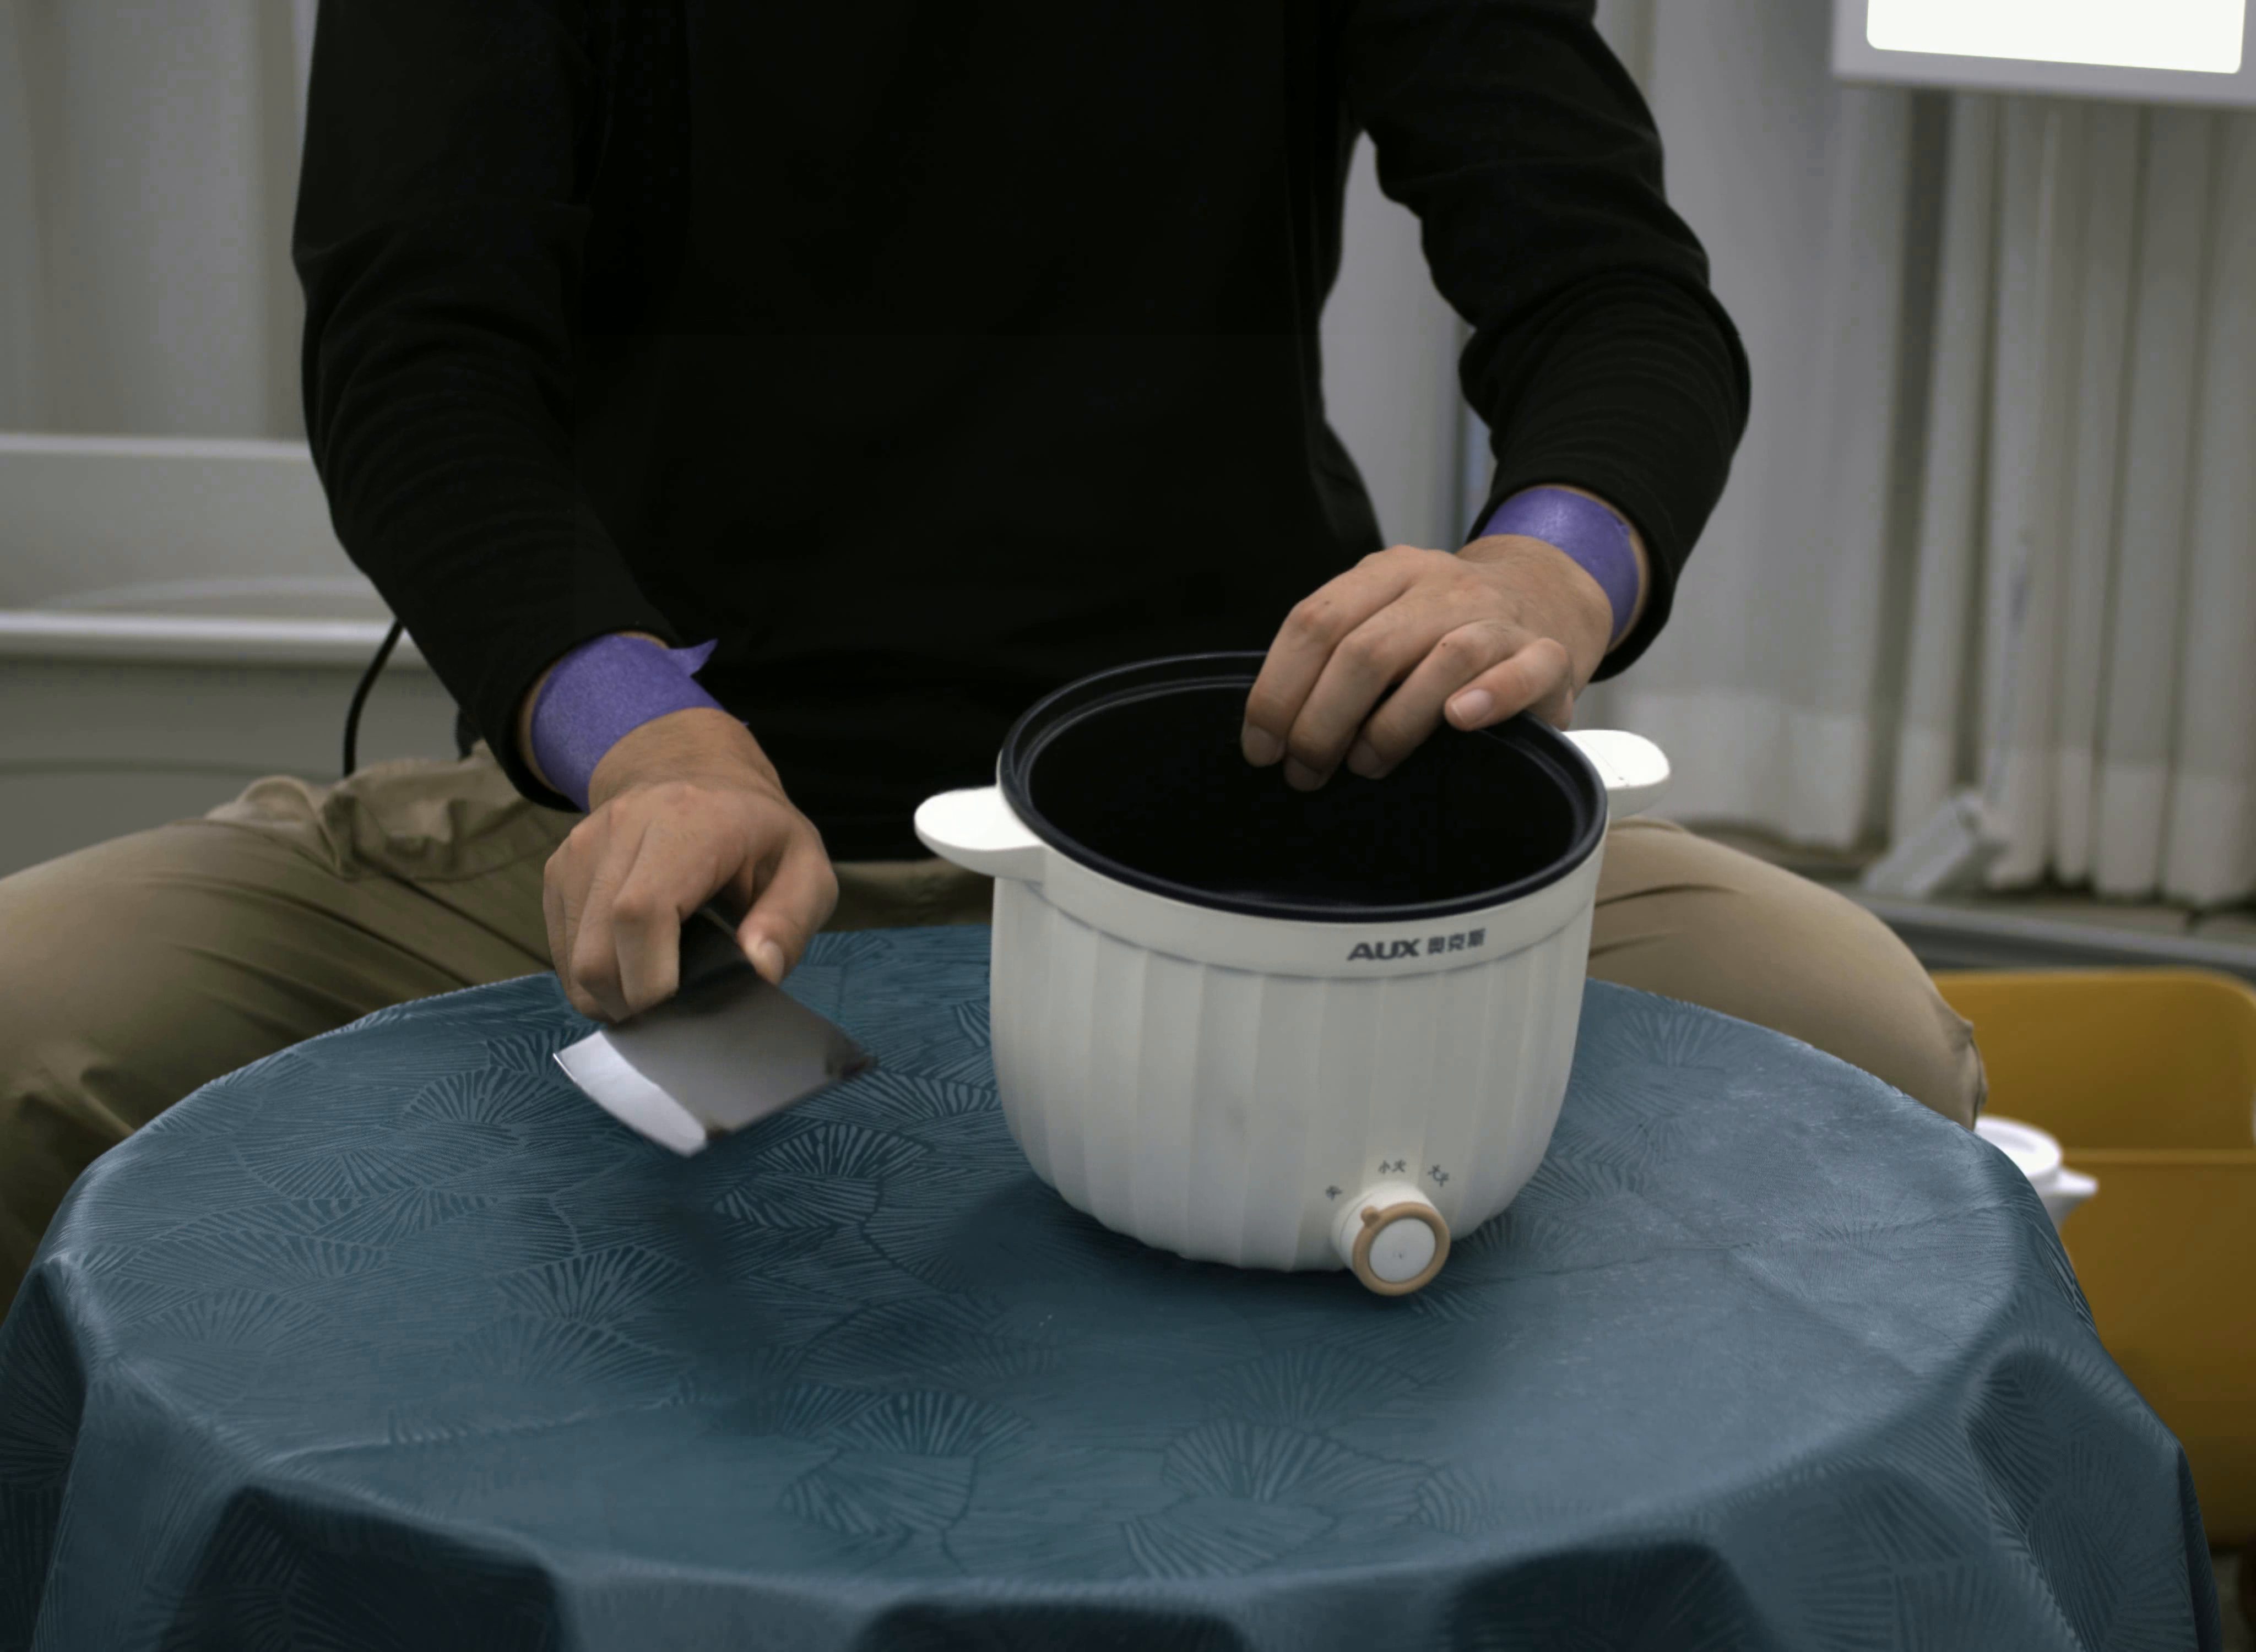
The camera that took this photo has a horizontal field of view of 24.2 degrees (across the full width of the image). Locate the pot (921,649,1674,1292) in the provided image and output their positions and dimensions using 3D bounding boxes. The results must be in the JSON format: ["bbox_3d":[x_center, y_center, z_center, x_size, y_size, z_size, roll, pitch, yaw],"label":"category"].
[{"bbox_3d":[0.052,0.046,1.579,0.241,0.144,0.188,-7,25,-21],"label":"pot"}]

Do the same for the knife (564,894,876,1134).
[{"bbox_3d":[-0.134,0.055,1.588,0.081,0.021,0.300,-25,12,-7],"label":"knife"}]
